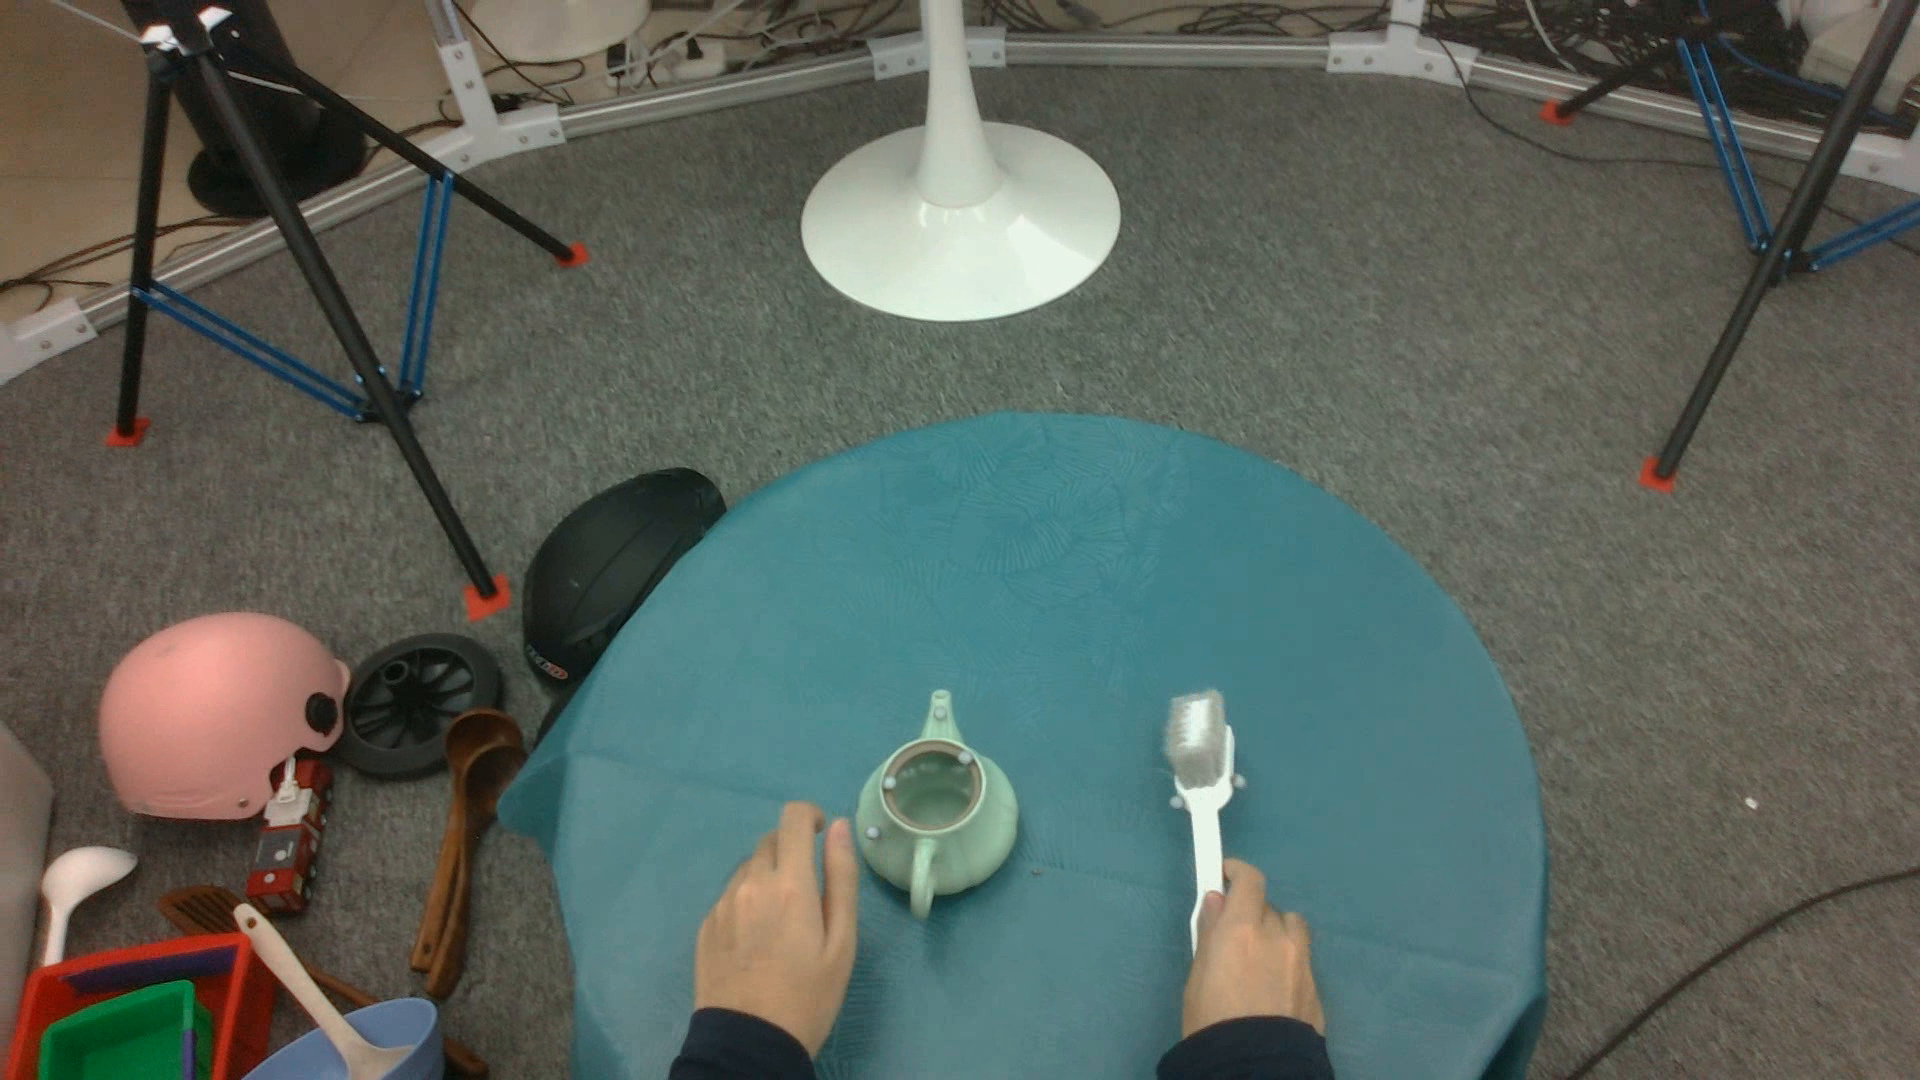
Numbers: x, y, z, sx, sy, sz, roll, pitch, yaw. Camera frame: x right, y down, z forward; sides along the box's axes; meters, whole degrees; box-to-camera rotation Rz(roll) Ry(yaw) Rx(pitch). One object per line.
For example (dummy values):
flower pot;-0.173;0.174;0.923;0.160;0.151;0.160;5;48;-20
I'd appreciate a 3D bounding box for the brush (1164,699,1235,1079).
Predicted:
brush;0.132;0.189;0.770;0.034;0.050;0.245;-11;40;22

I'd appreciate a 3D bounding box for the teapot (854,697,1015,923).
teapot;-0.015;0.164;0.812;0.096;0.061;0.137;2;49;2
